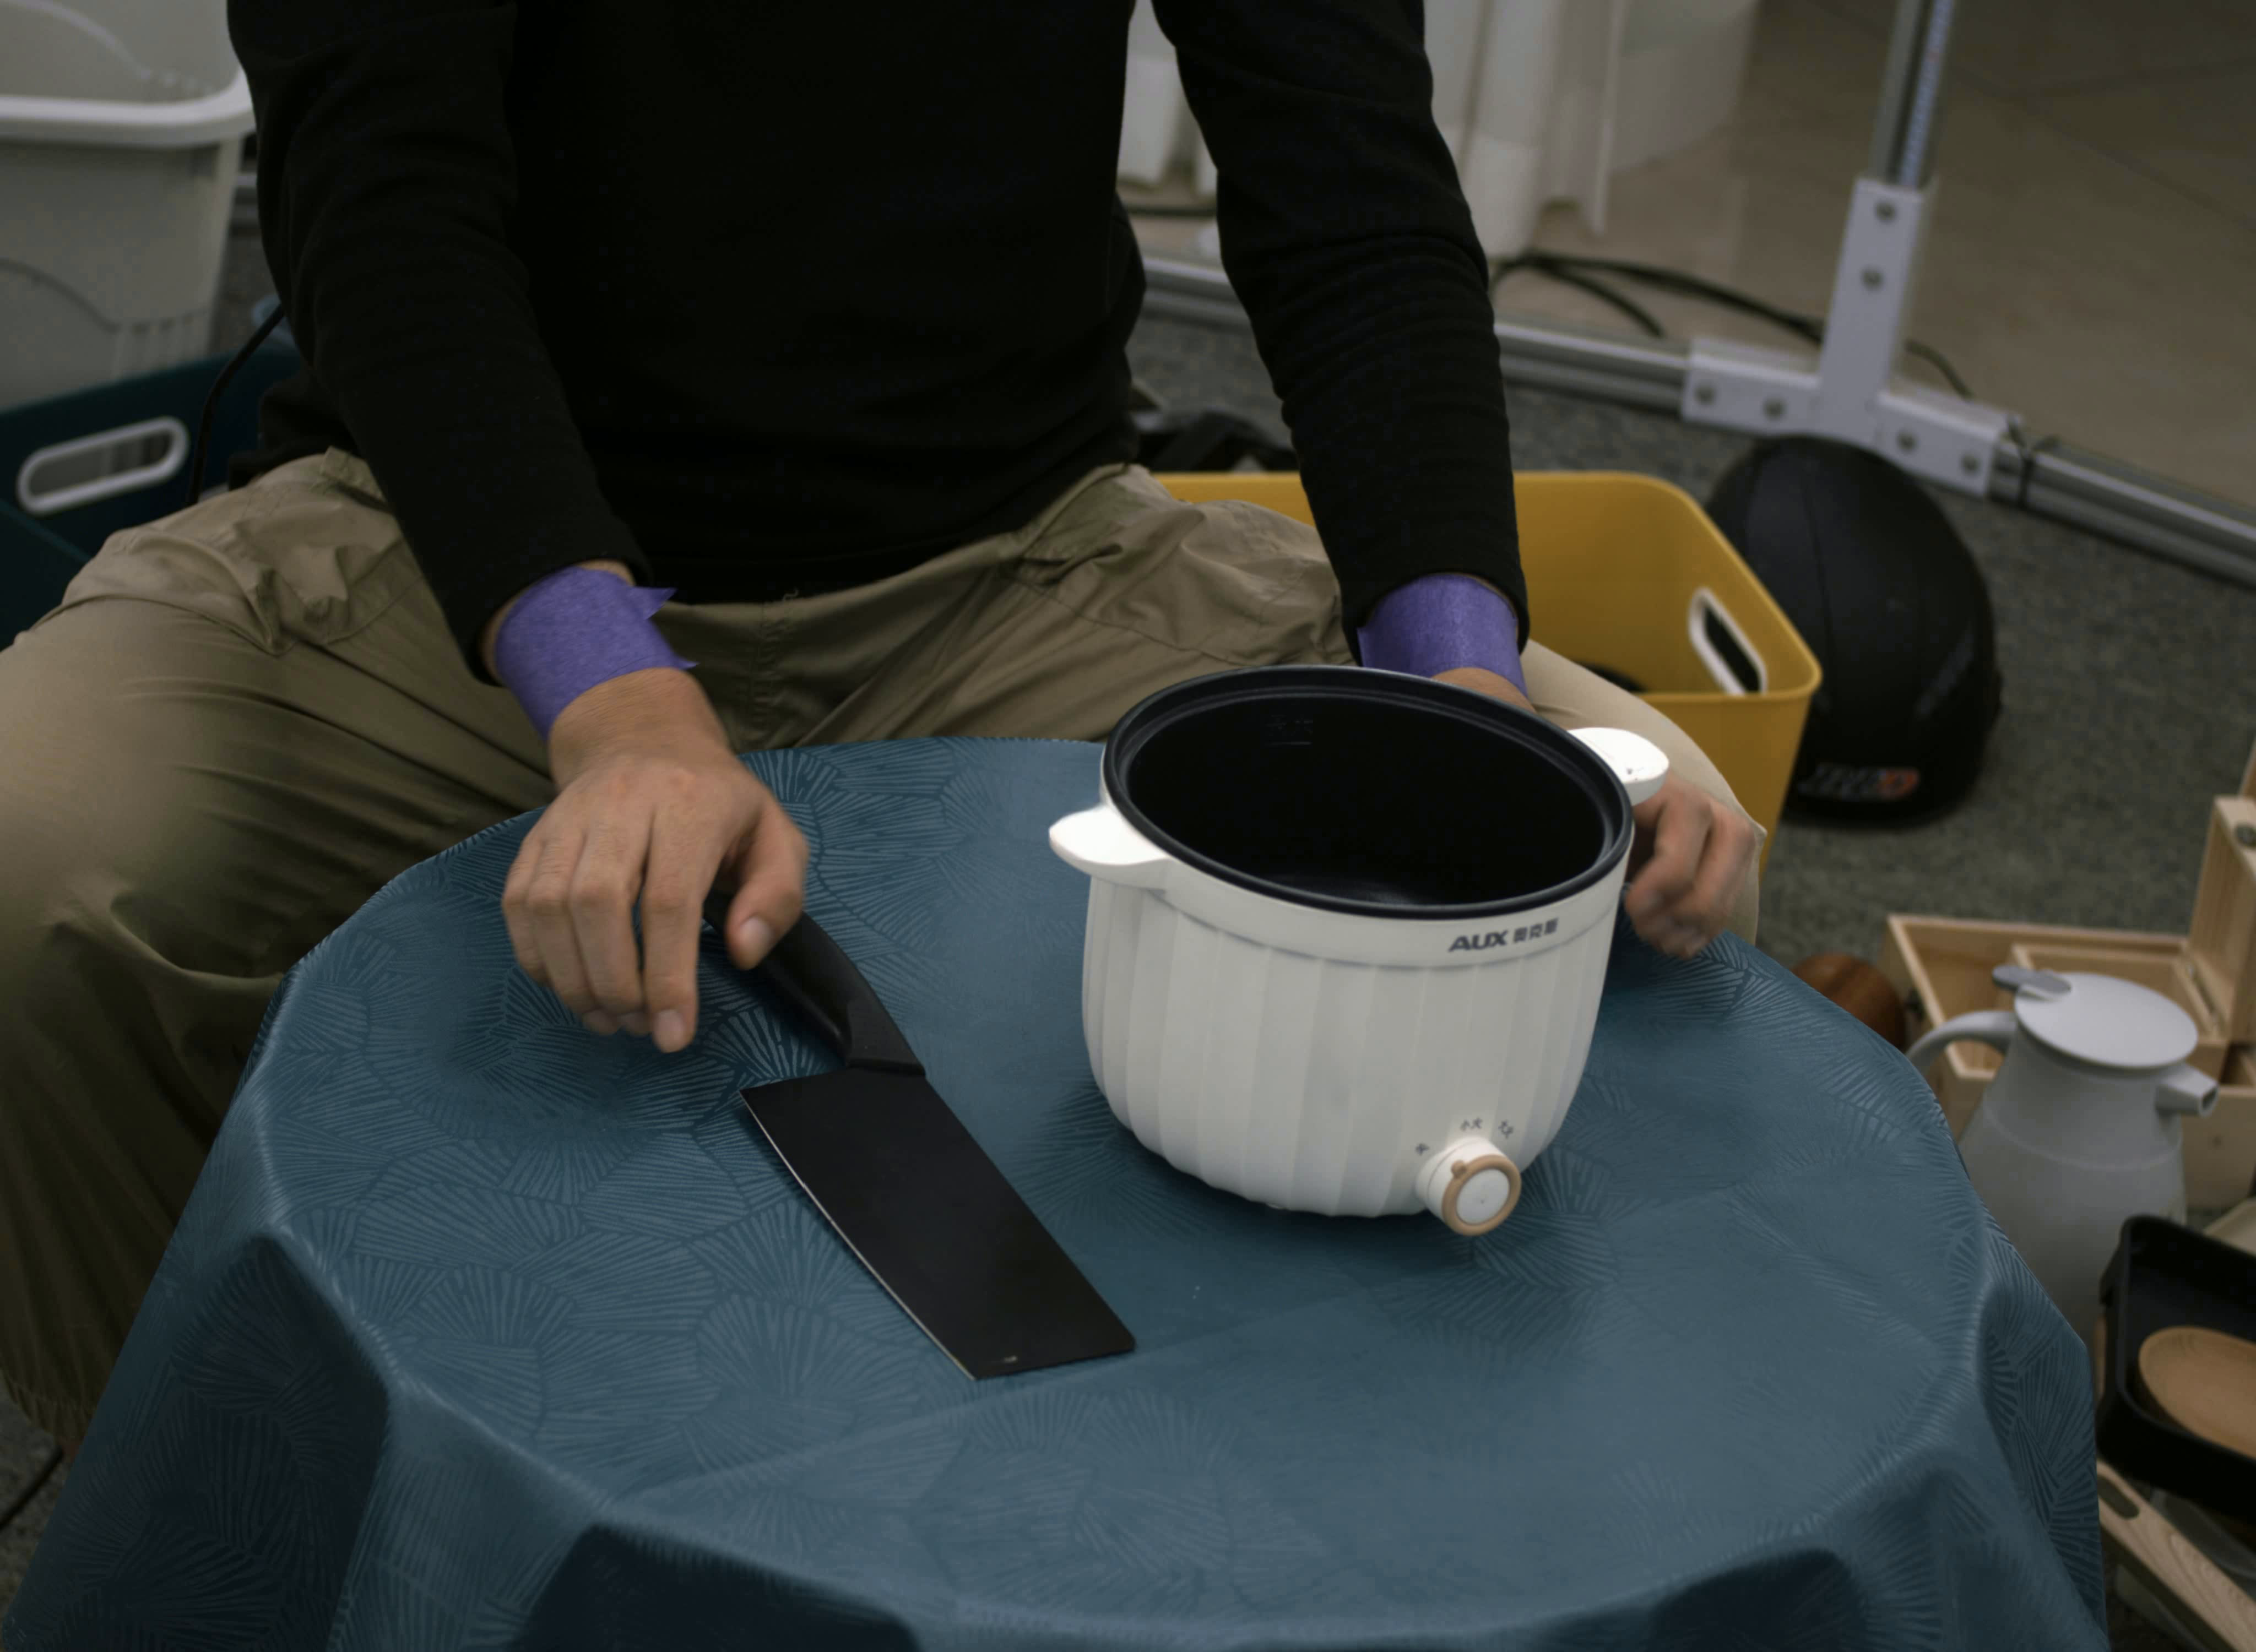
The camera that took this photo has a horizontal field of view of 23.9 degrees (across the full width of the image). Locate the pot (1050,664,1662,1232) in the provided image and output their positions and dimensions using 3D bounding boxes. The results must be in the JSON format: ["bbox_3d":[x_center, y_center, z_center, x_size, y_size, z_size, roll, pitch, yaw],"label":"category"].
[{"bbox_3d":[0.078,0.046,1.824,0.239,0.142,0.192,-10,28,-28],"label":"pot"}]

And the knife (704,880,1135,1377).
[{"bbox_3d":[-0.086,0.100,1.818,0.080,0.021,0.305,-6,31,-22],"label":"knife"}]
